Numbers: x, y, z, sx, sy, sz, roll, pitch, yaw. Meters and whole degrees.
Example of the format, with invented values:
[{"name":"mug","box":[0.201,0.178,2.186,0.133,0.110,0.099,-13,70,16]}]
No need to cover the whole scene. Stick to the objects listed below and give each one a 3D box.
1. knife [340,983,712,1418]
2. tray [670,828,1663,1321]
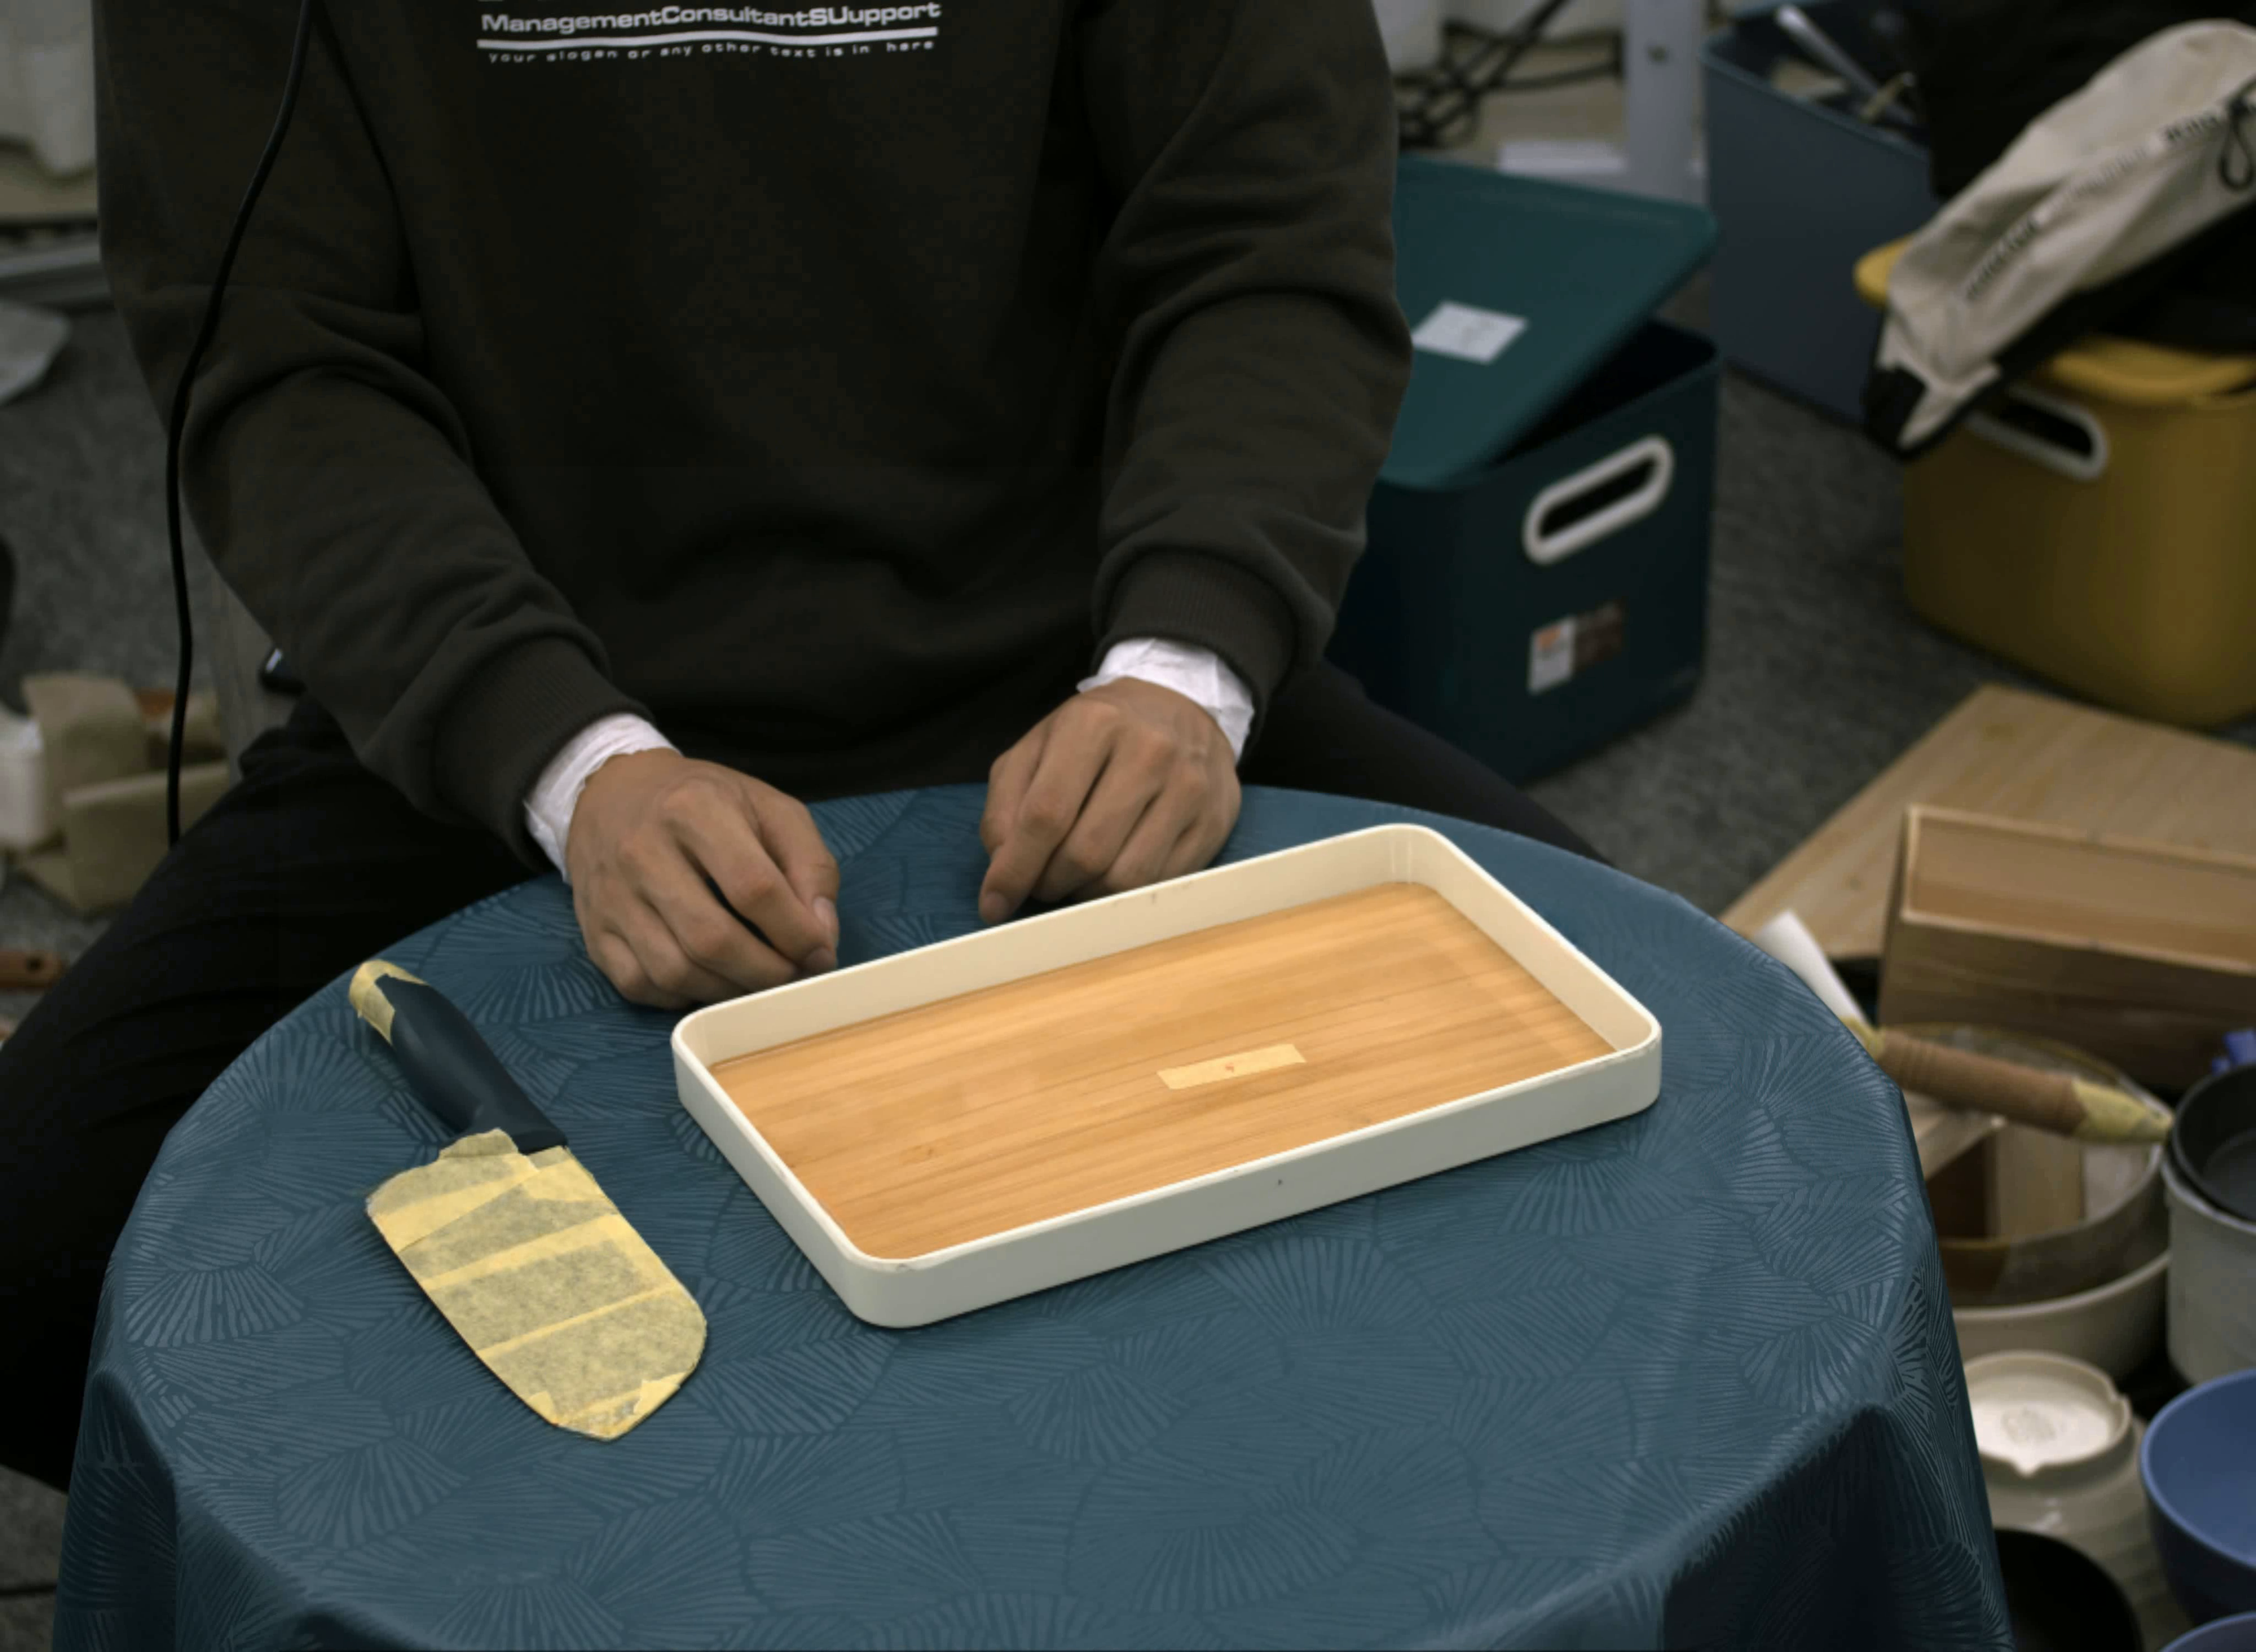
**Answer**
[{"name":"knife","box":[-0.214,0.124,1.861,0.081,0.027,0.291,-13,30,-22]},{"name":"tray","box":[0.012,0.080,1.912,0.301,0.027,0.192,-14,28,-22]}]
